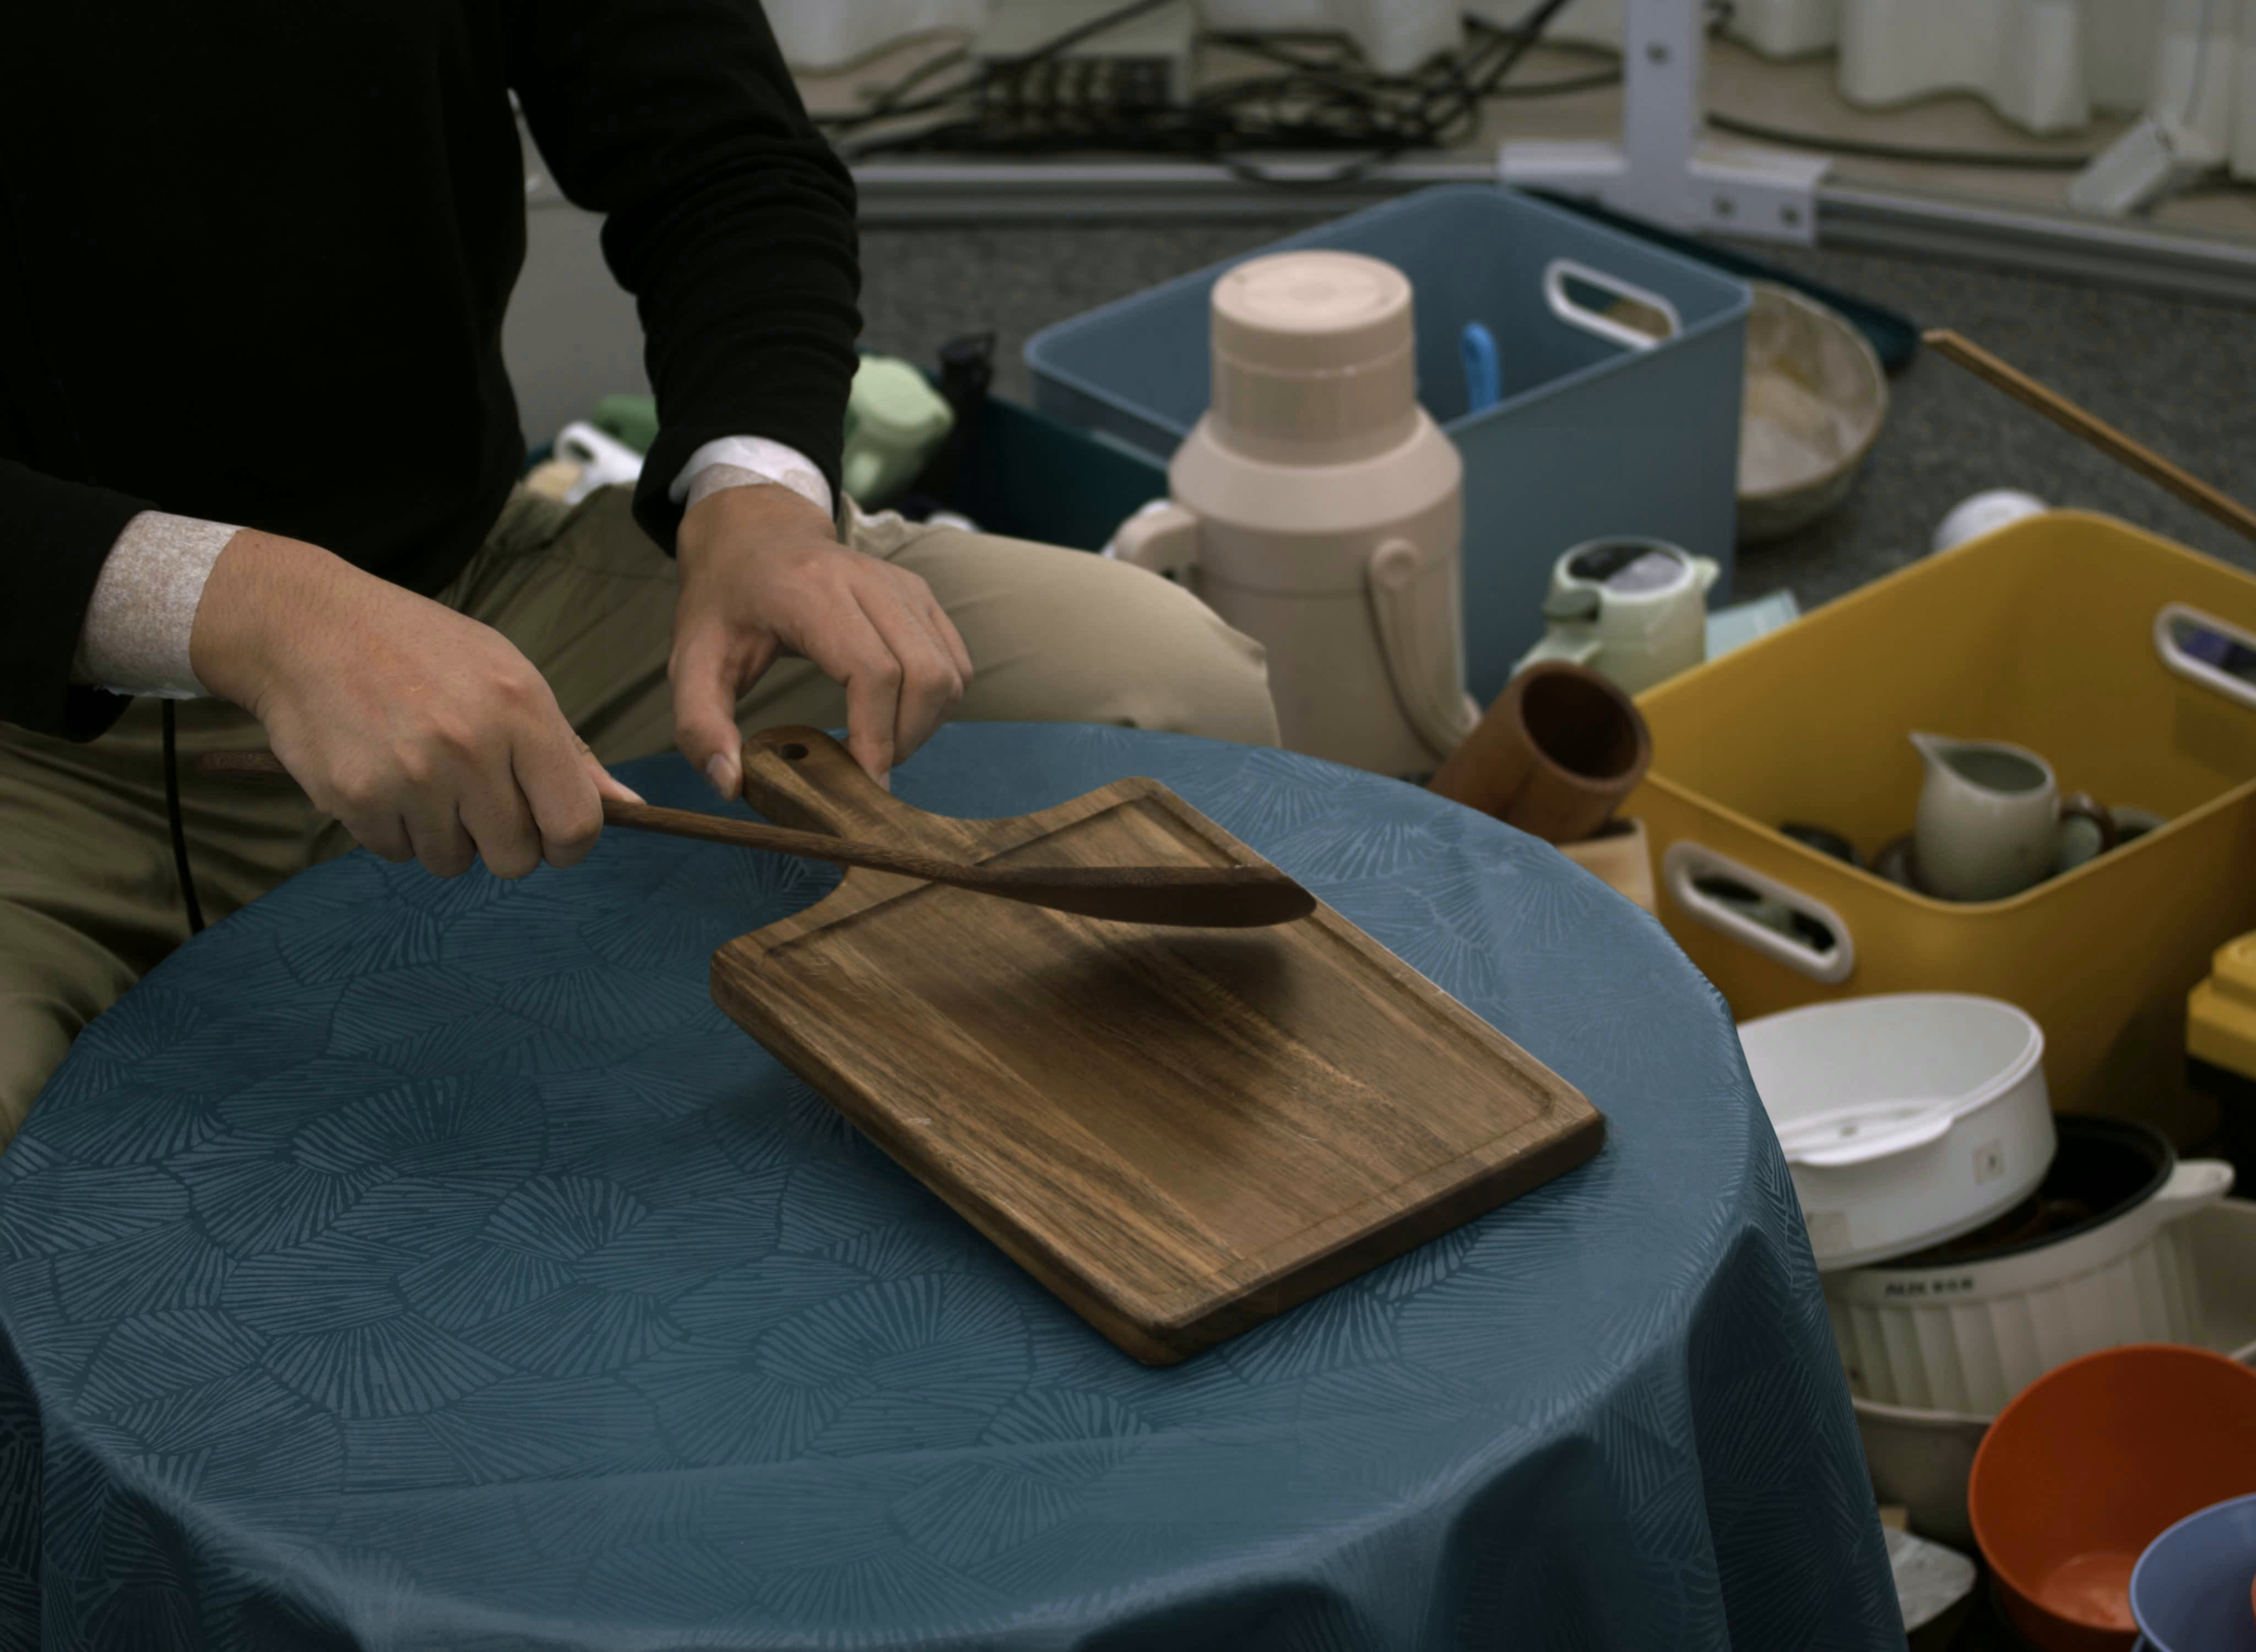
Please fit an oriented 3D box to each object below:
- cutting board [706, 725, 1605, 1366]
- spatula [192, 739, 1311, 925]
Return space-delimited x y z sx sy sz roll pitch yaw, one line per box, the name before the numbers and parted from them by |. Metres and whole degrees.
cutting board | -0.024 0.053 1.921 0.203 0.023 0.353 -22 41 -33
spatula | -0.128 0.002 1.904 0.384 0.016 0.095 8 -9 4
